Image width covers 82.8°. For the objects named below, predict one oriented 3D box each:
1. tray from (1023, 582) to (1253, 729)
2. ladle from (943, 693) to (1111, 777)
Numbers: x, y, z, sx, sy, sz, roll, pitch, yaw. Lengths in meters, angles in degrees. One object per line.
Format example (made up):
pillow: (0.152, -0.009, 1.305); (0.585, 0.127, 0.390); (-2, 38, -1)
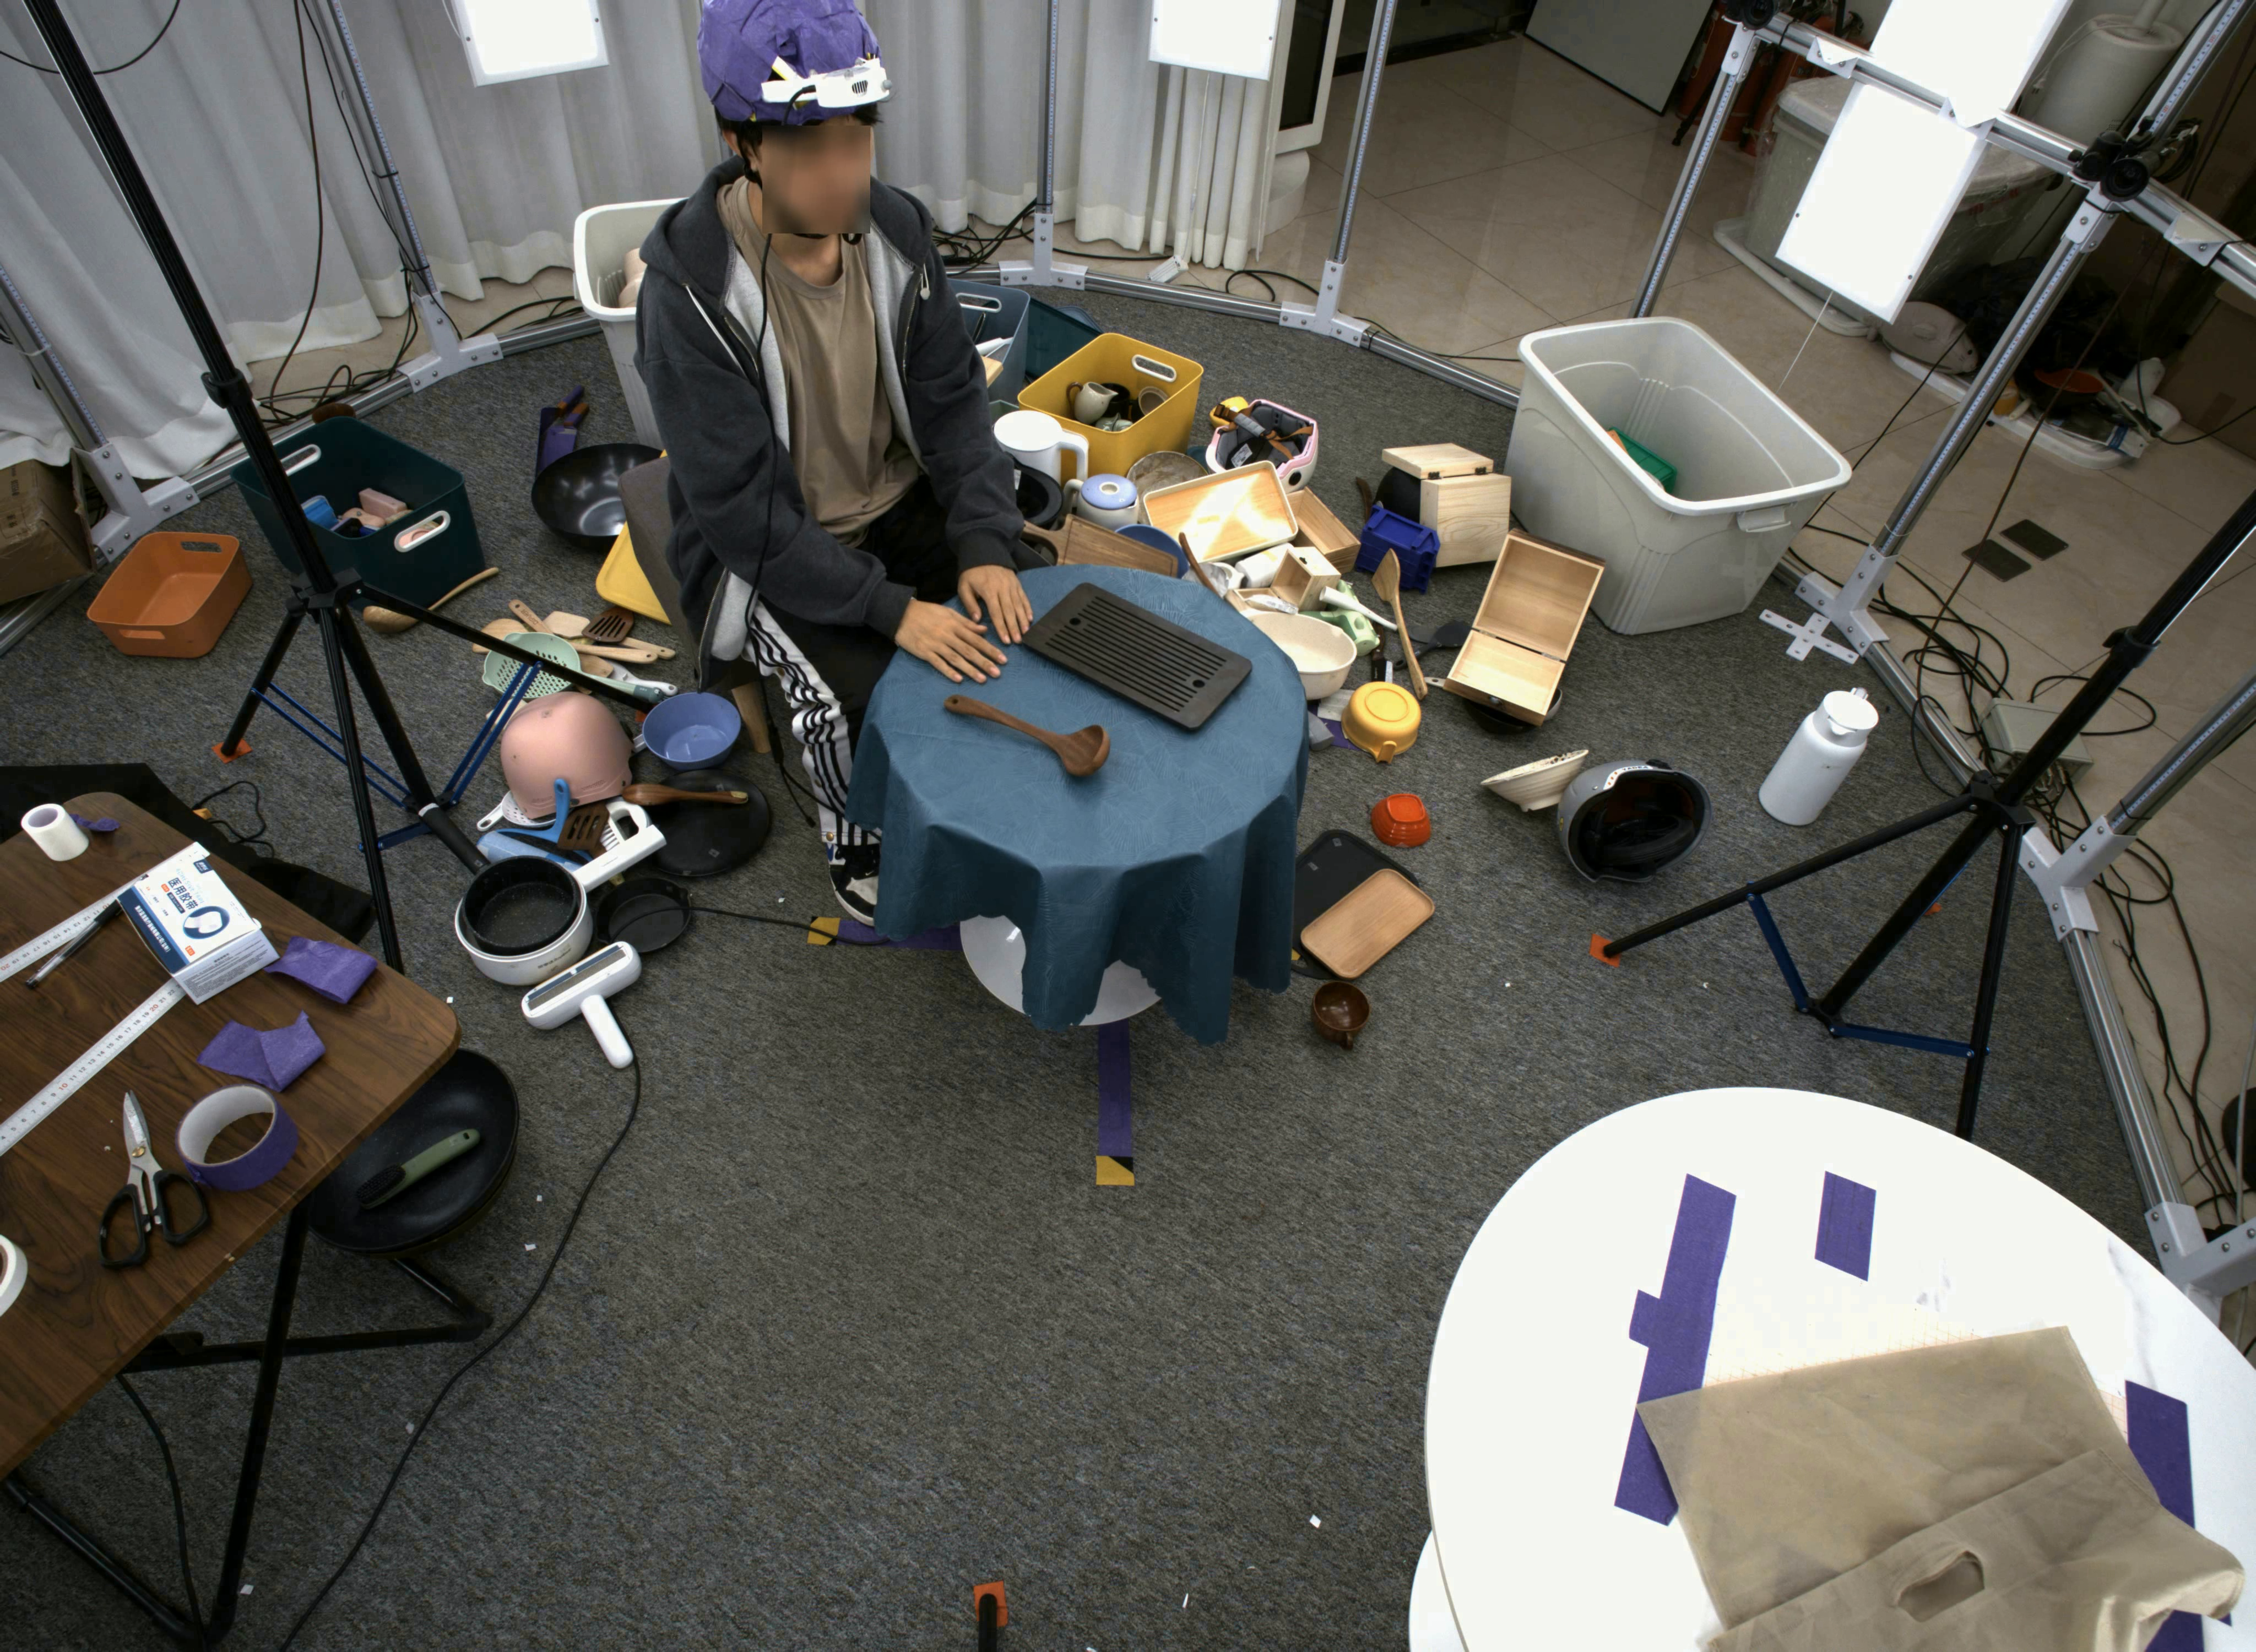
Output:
tray: (0.014, -0.252, 1.874); (0.309, 0.018, 0.172); (29, 53, 20)
ladle: (-0.142, -0.137, 1.735); (0.262, 0.064, 0.077); (23, 71, 15)
